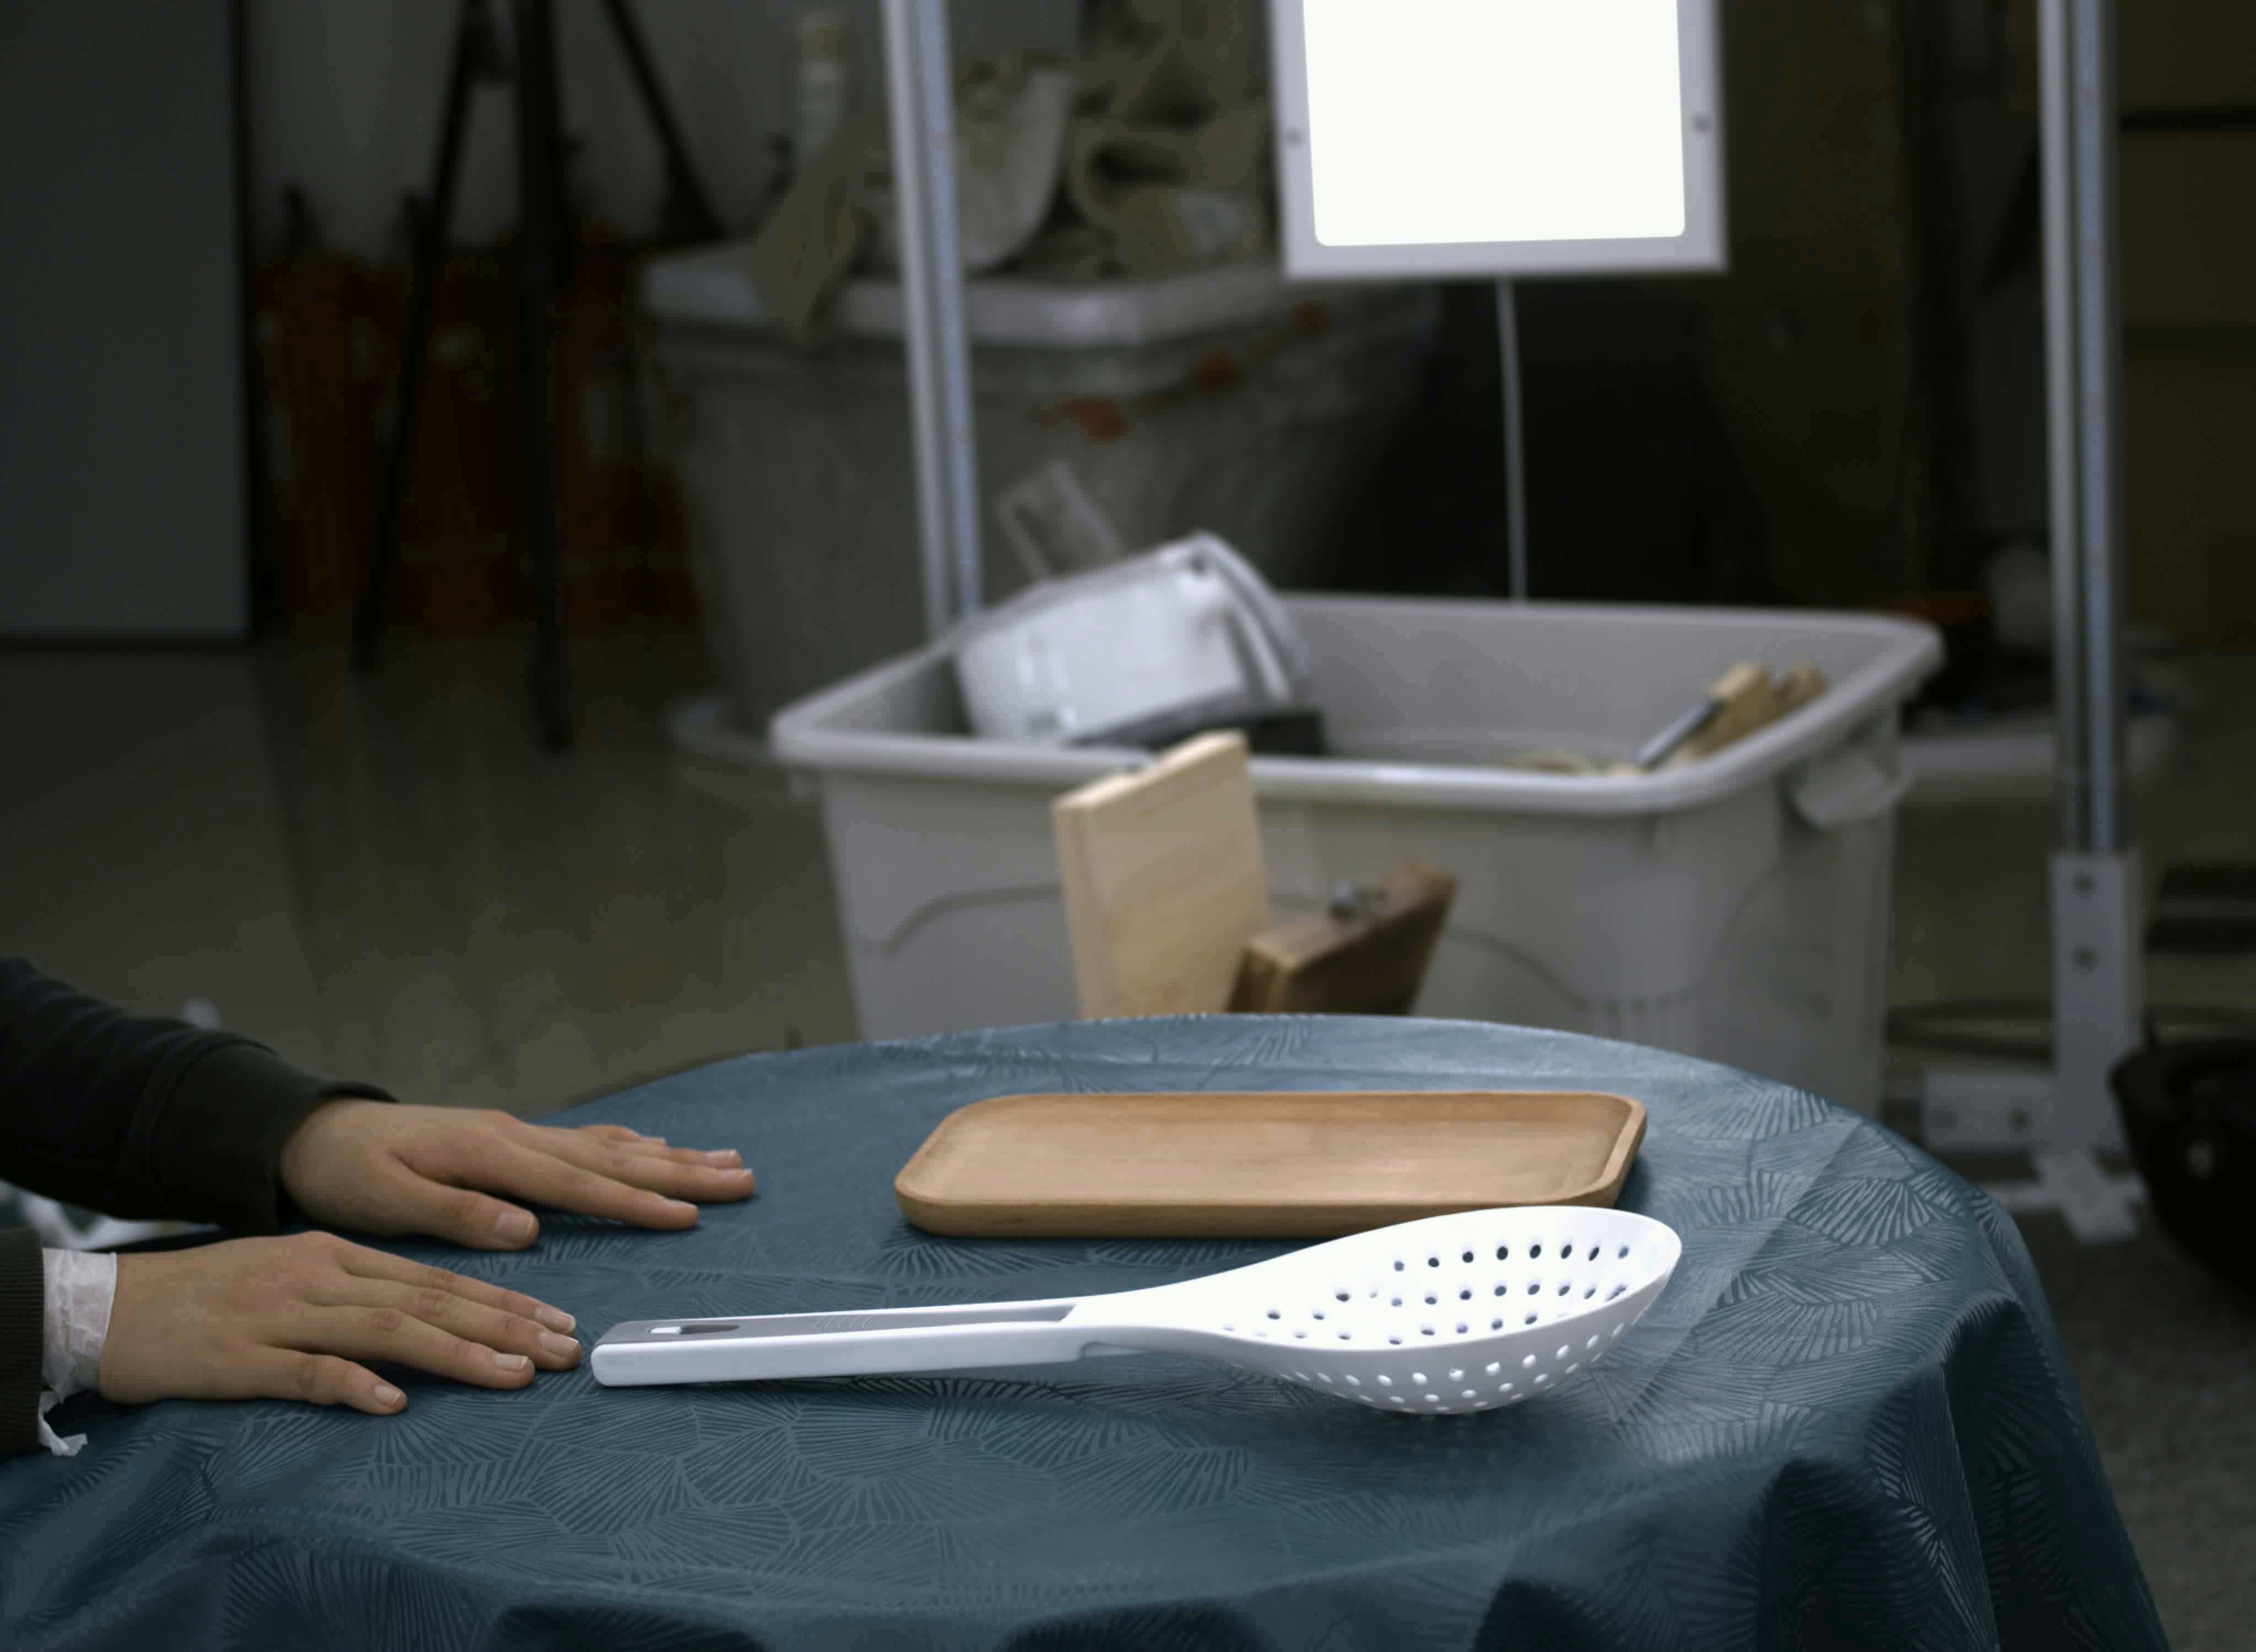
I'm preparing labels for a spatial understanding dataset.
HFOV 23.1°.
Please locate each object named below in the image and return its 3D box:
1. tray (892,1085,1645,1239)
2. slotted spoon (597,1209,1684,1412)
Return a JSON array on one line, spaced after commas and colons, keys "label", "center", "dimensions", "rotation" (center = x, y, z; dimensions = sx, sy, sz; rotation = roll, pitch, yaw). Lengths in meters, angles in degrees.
[{"label": "tray", "center": [0.049, 0.116, 1.889], "dimensions": [0.253, 0.023, 0.129], "rotation": [-2, 12, 16]}, {"label": "slotted spoon", "center": [-0.001, 0.152, 1.696], "dimensions": [0.354, 0.046, 0.134], "rotation": [-1, 12, 19]}]
